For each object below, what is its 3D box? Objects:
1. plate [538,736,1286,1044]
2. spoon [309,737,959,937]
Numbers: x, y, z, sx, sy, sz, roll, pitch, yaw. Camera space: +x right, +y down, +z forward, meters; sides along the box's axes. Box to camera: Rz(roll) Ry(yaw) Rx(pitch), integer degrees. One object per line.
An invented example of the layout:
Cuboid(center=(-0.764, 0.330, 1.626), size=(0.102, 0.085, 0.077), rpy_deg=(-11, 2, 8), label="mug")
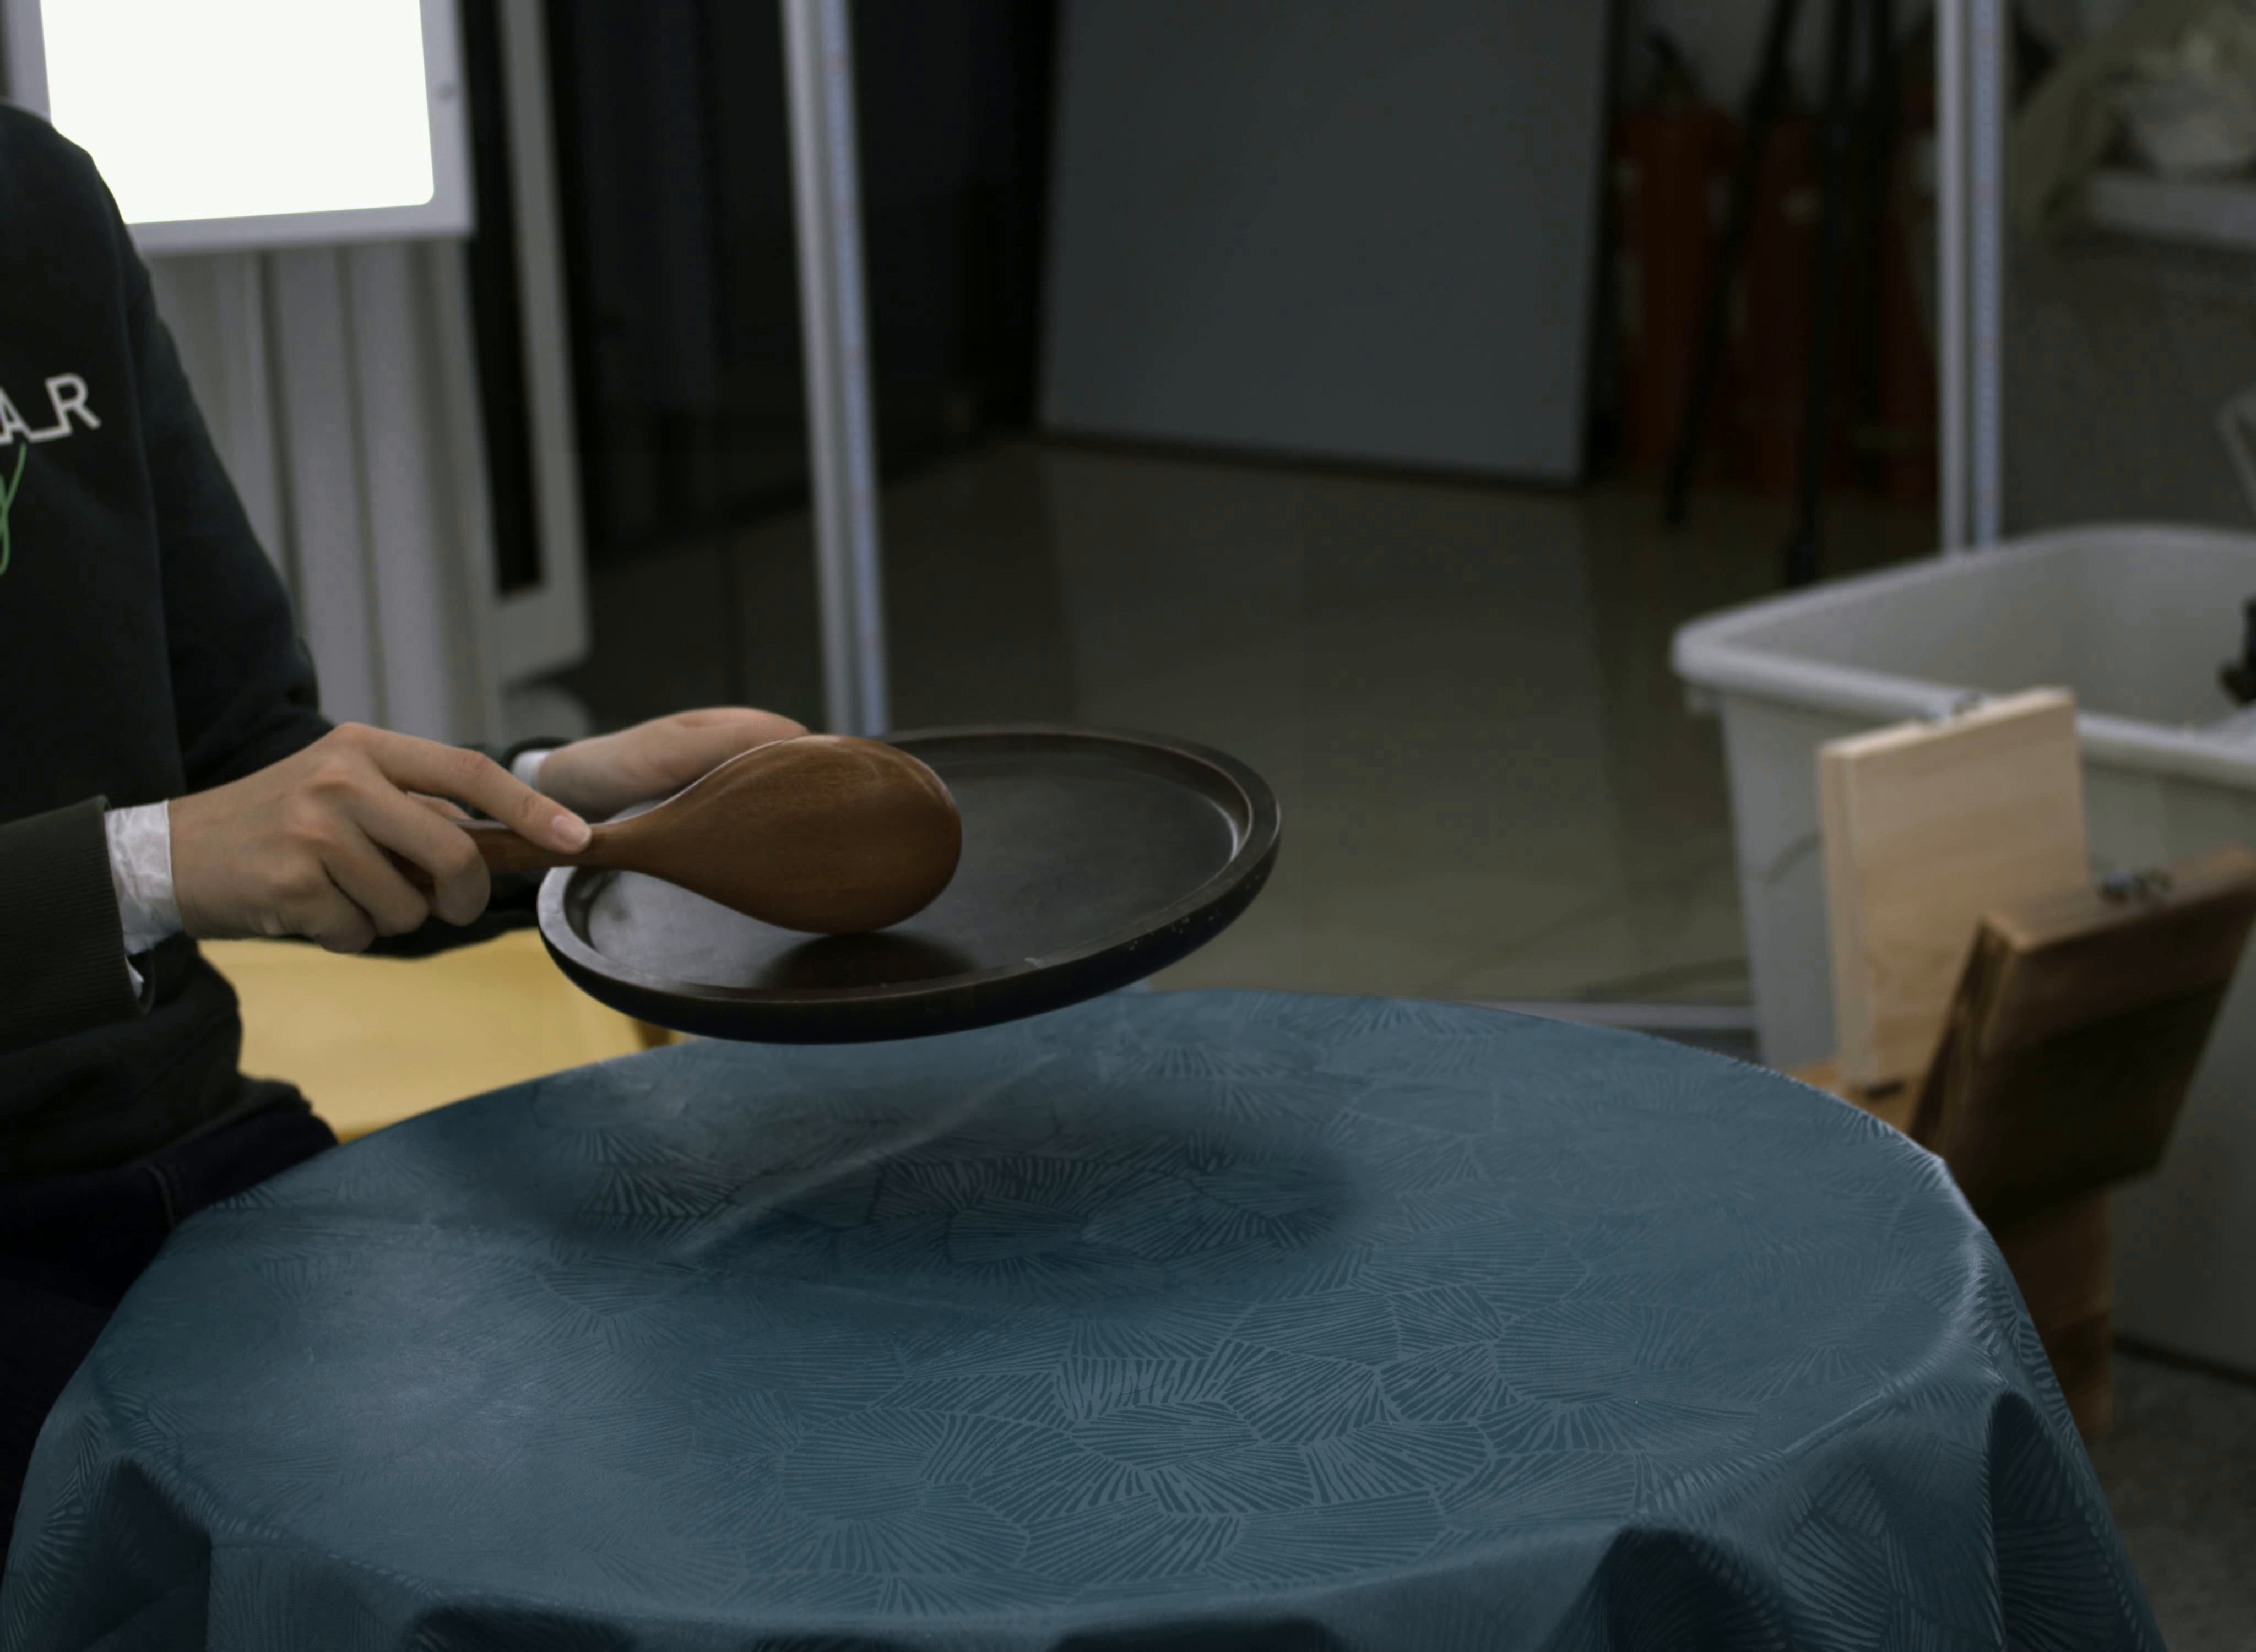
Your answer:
Cuboid(center=(-0.071, 0.019, 1.802), size=(0.252, 0.029, 0.255), rpy_deg=(-6, 20, 1), label="plate")
Cuboid(center=(-0.161, 0.007, 1.753), size=(0.214, 0.076, 0.017), rpy_deg=(-1, 31, 9), label="spoon")
